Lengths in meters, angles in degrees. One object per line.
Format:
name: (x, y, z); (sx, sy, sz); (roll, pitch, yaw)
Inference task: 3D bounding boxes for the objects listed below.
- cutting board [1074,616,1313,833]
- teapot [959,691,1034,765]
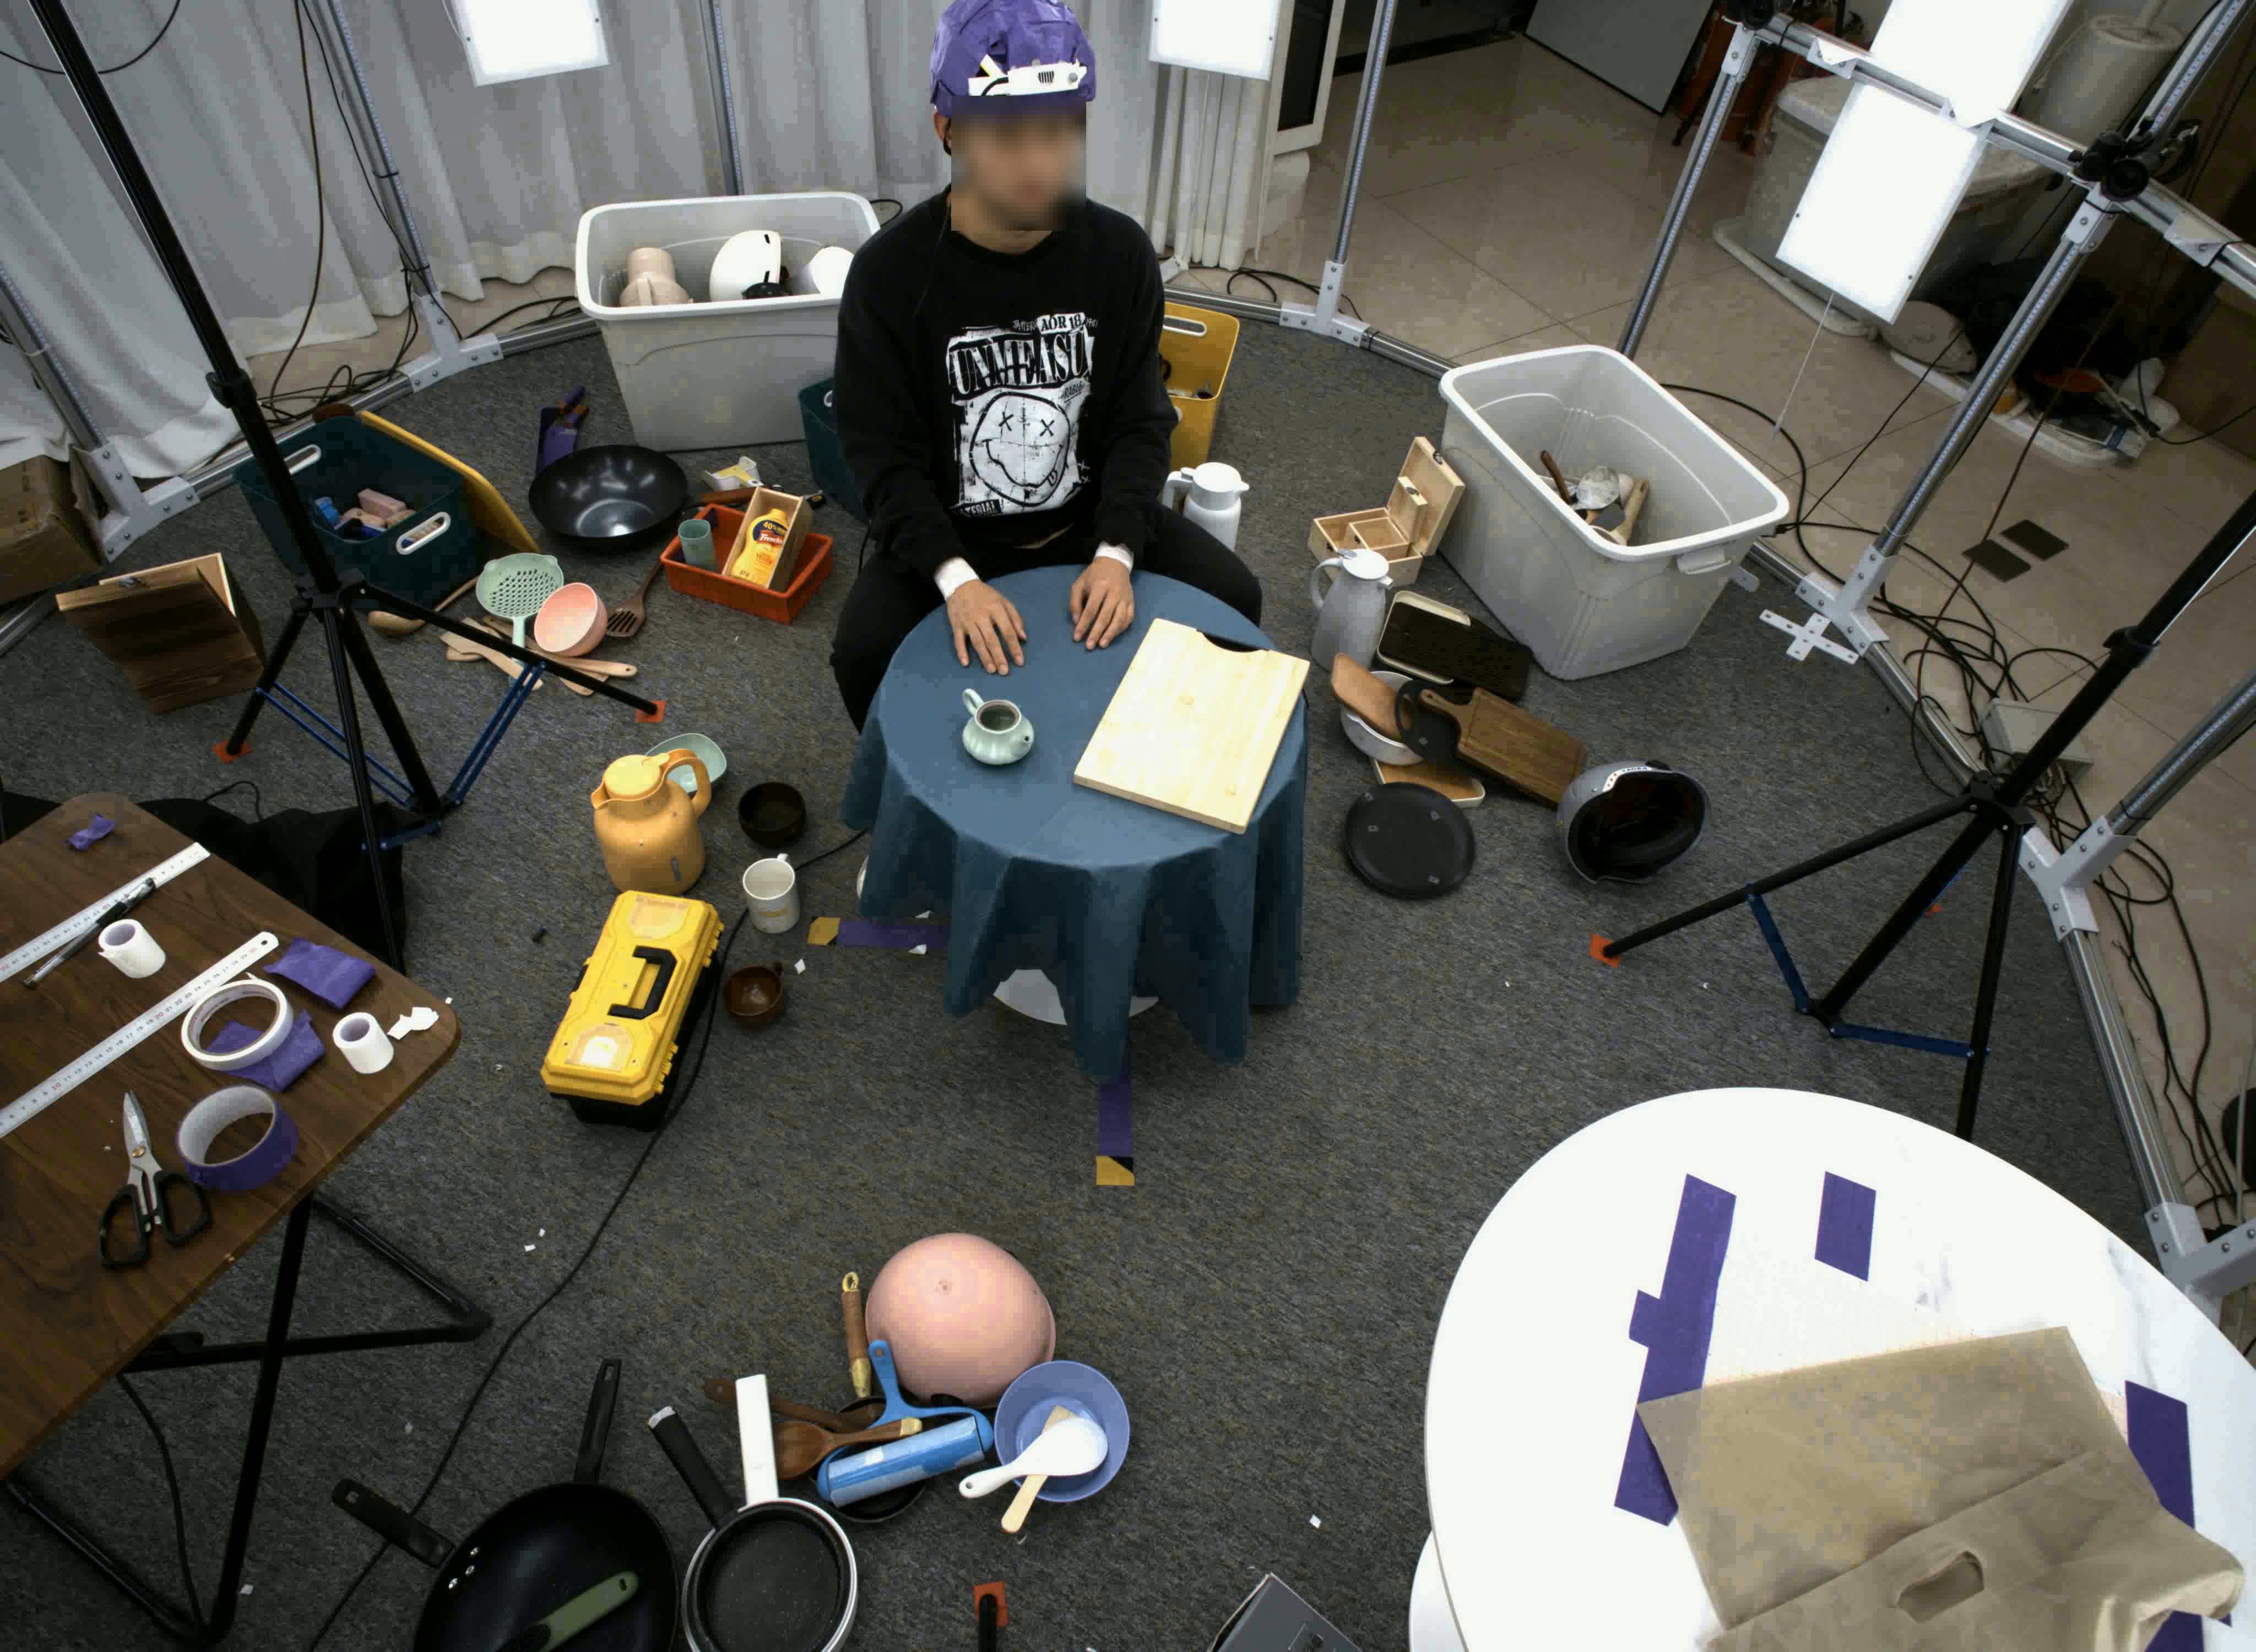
cutting board: (0.098, -0.153, 1.797); (0.251, 0.023, 0.356); (16, 50, 10)
teapot: (-0.178, -0.133, 1.734); (0.139, 0.060, 0.097); (38, 58, 25)
